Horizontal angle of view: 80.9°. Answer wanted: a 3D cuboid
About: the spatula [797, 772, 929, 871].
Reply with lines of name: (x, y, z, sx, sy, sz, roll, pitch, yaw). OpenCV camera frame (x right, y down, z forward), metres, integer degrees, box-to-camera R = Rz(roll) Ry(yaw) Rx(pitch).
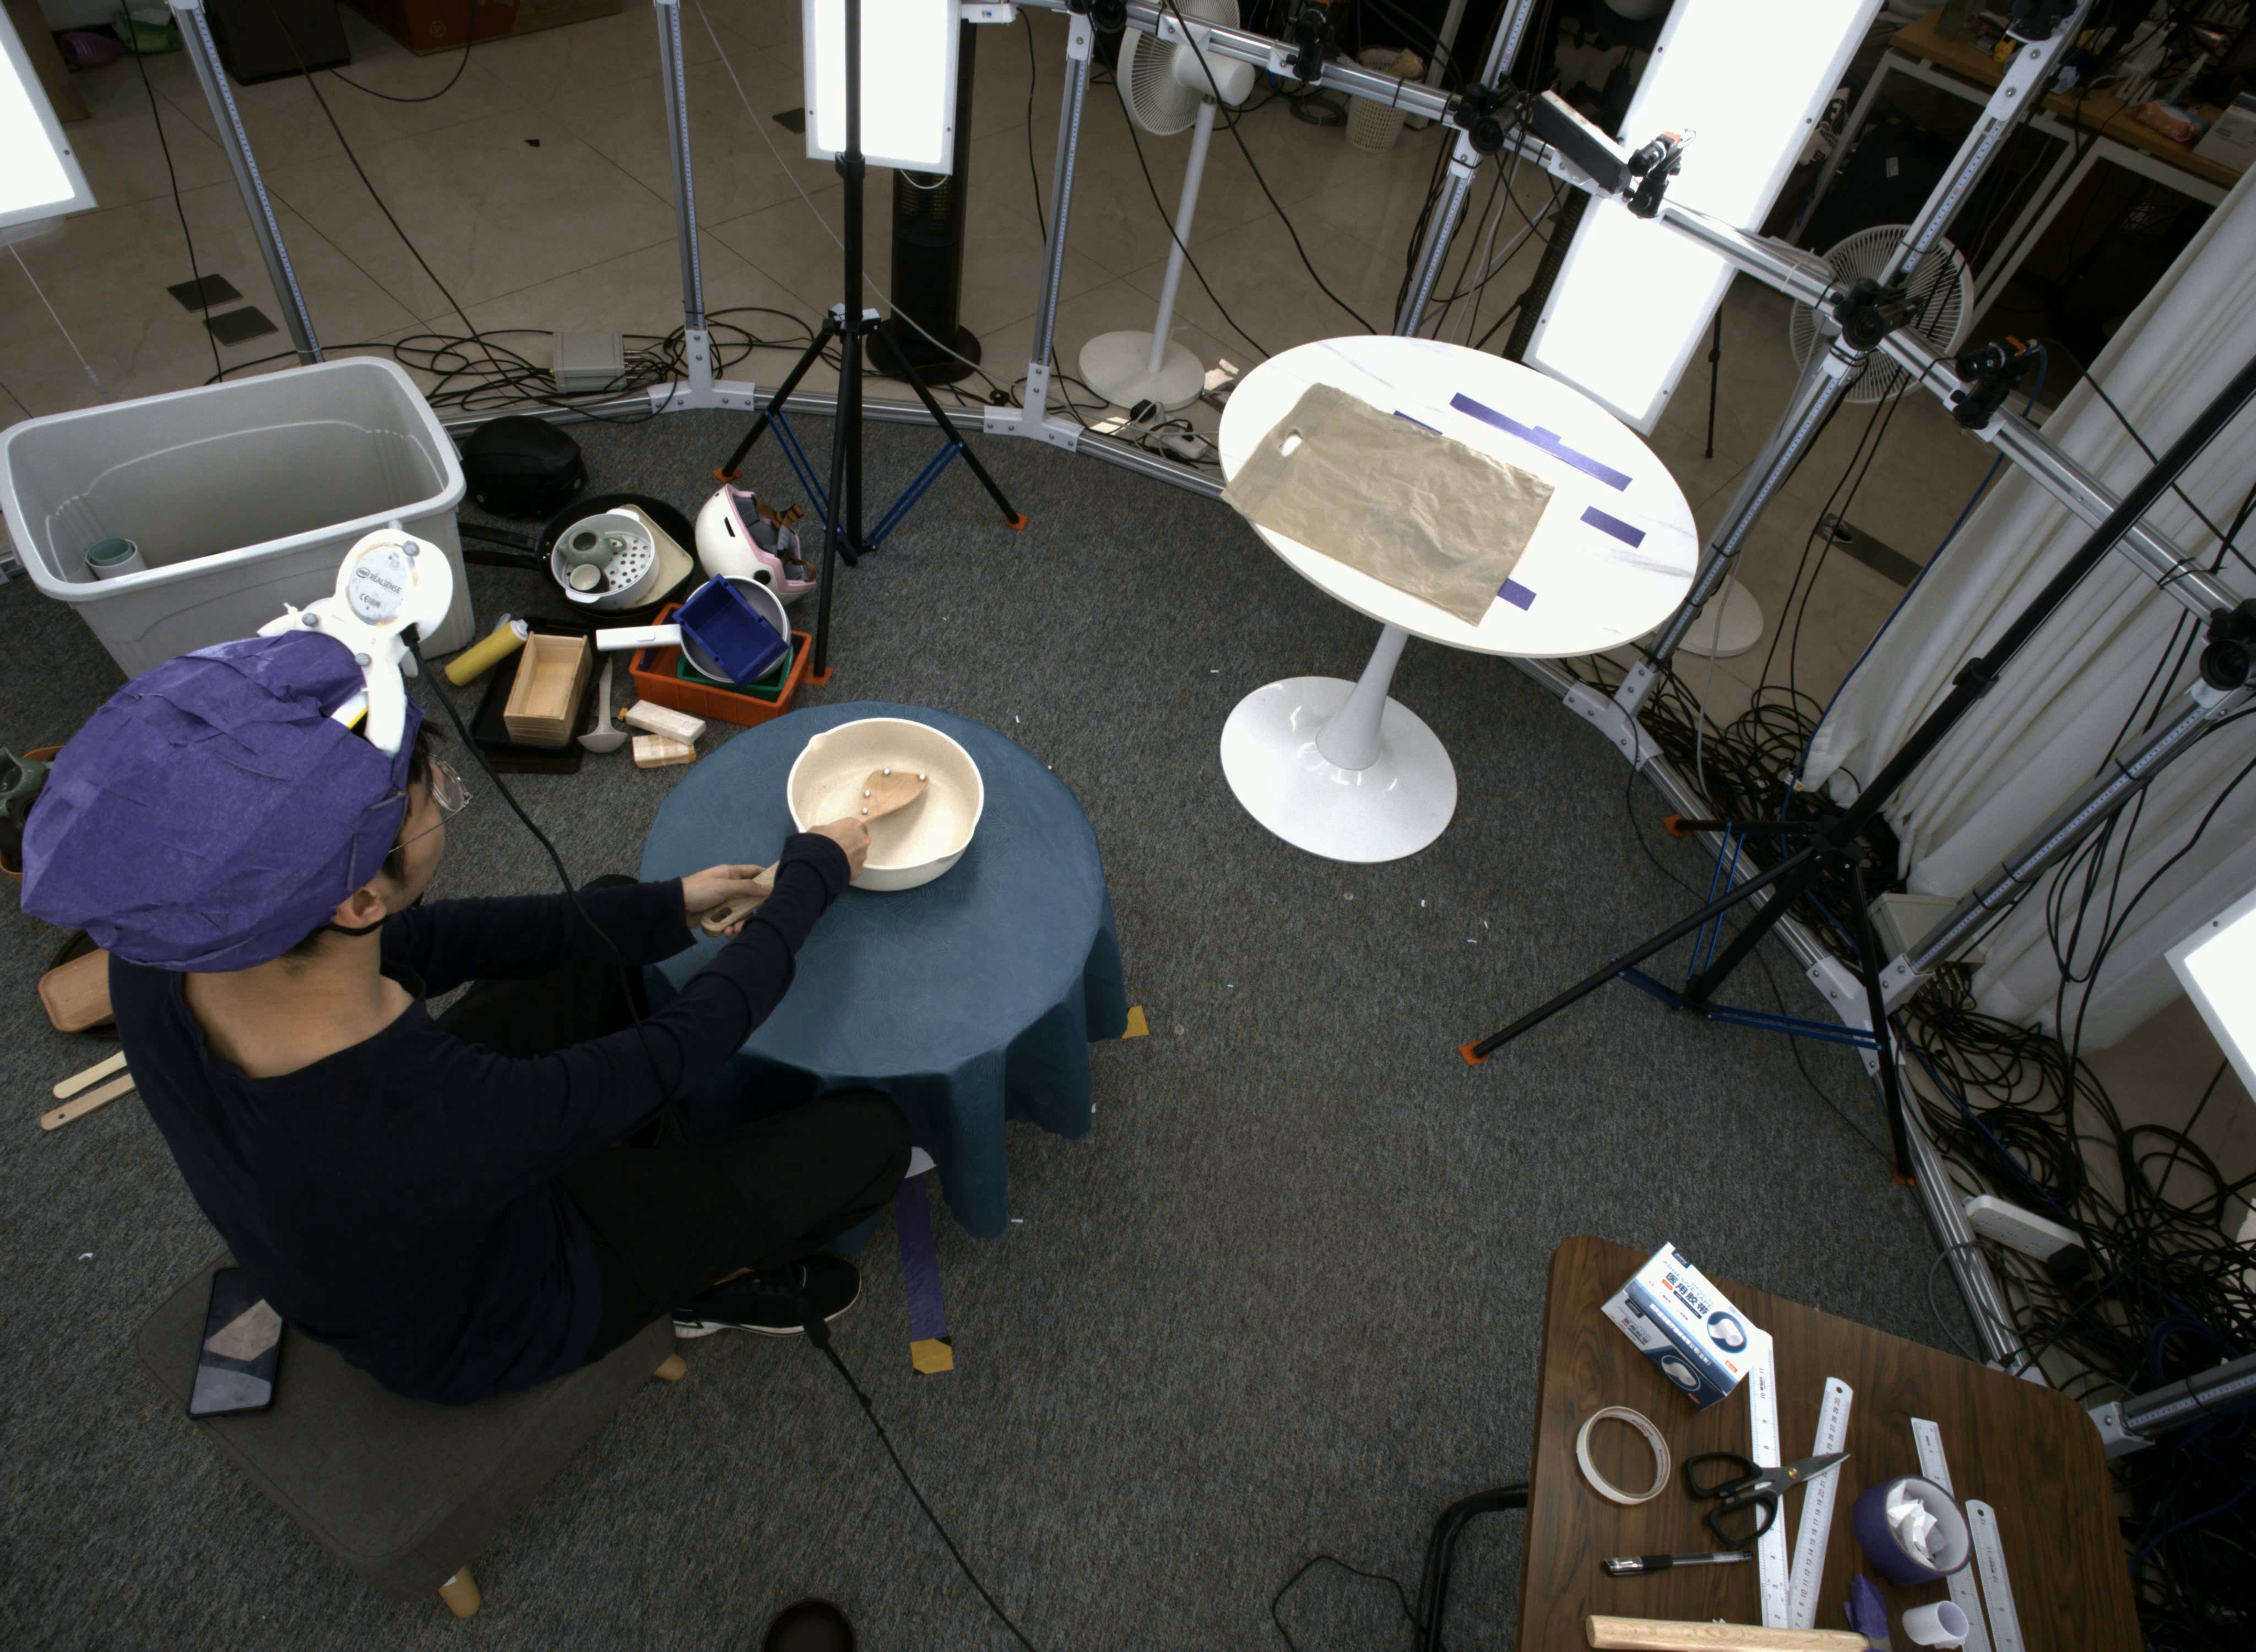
spatula: (-0.339, -0.011, 1.633, 0.078, 0.017, 0.325, 14, 22, 7)

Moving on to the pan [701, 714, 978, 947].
pan: (-0.375, 0.025, 1.652, 0.258, 0.104, 0.434, 35, 54, 12)
